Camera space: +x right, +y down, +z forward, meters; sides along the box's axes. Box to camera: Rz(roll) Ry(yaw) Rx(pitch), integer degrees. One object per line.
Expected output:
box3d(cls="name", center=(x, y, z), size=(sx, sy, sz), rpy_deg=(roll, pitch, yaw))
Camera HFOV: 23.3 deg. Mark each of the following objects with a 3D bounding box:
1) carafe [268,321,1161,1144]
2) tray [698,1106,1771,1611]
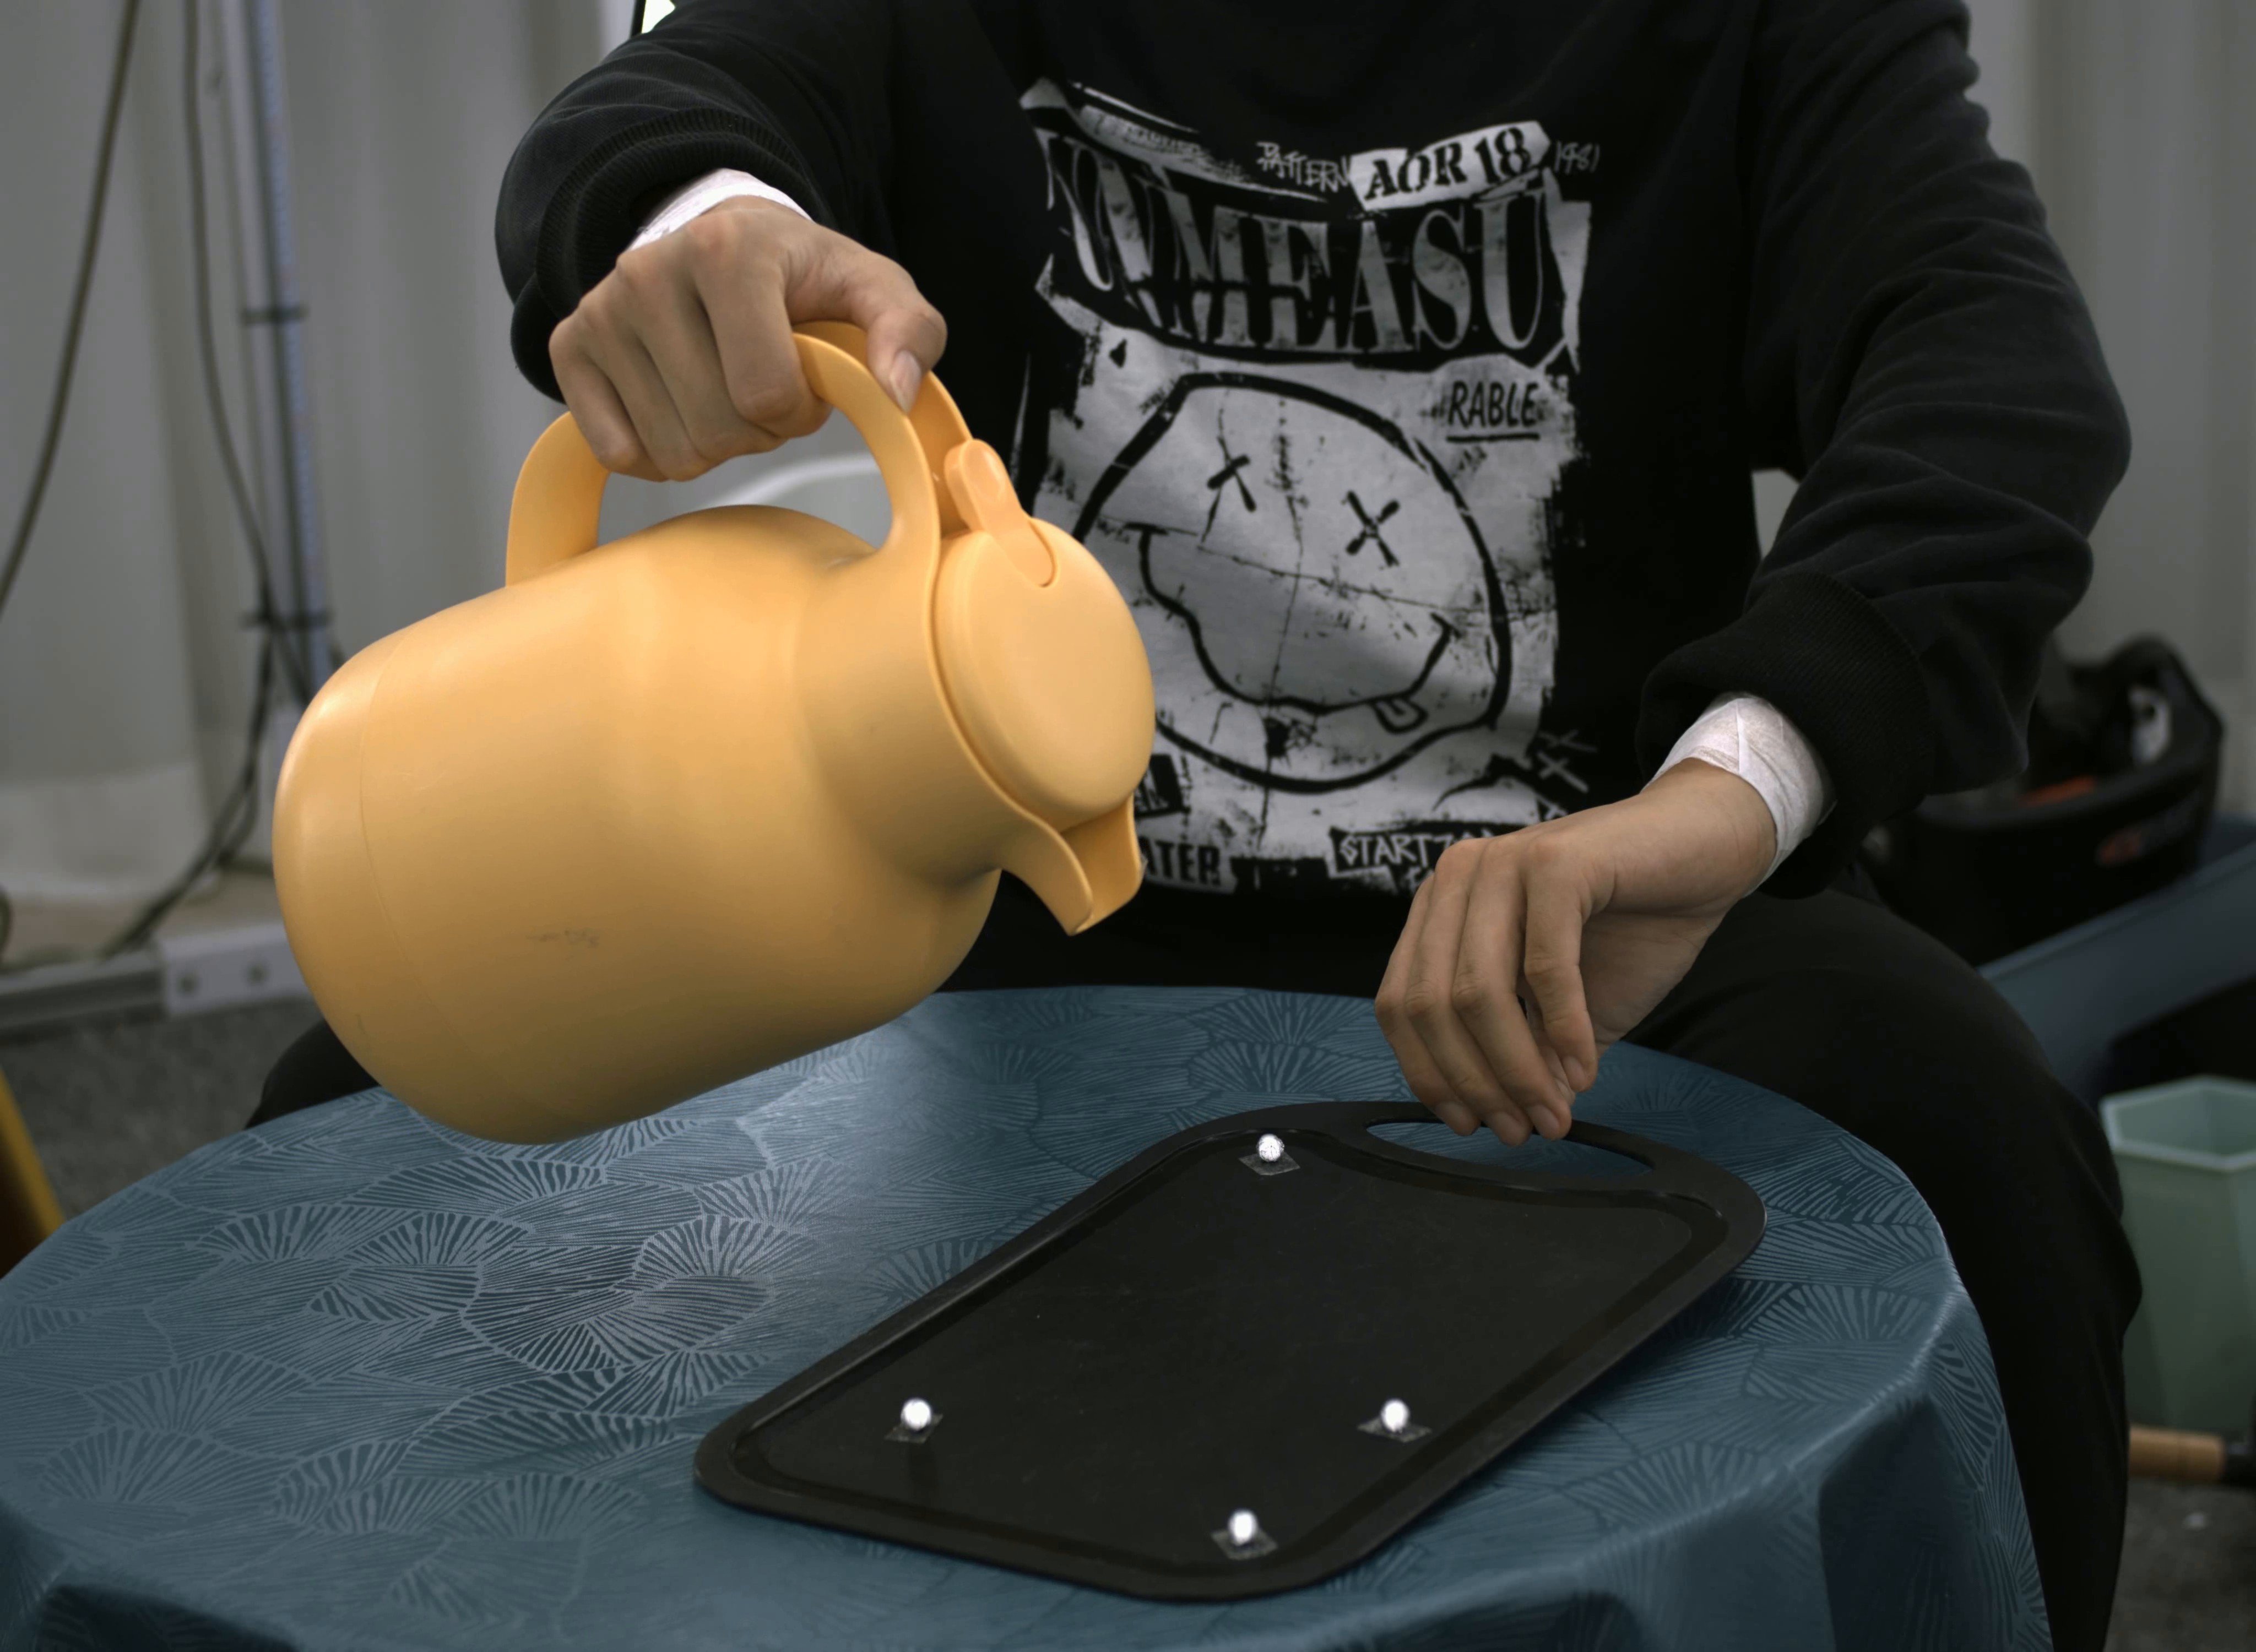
box3d(cls="carafe", center=(-0.120, -0.030, 1.595), size=(0.260, 0.203, 0.163), rpy_deg=(-19, -2, 31))
box3d(cls="tray", center=(0.039, 0.140, 1.558), size=(0.212, 0.010, 0.326), rpy_deg=(8, 22, 34))
